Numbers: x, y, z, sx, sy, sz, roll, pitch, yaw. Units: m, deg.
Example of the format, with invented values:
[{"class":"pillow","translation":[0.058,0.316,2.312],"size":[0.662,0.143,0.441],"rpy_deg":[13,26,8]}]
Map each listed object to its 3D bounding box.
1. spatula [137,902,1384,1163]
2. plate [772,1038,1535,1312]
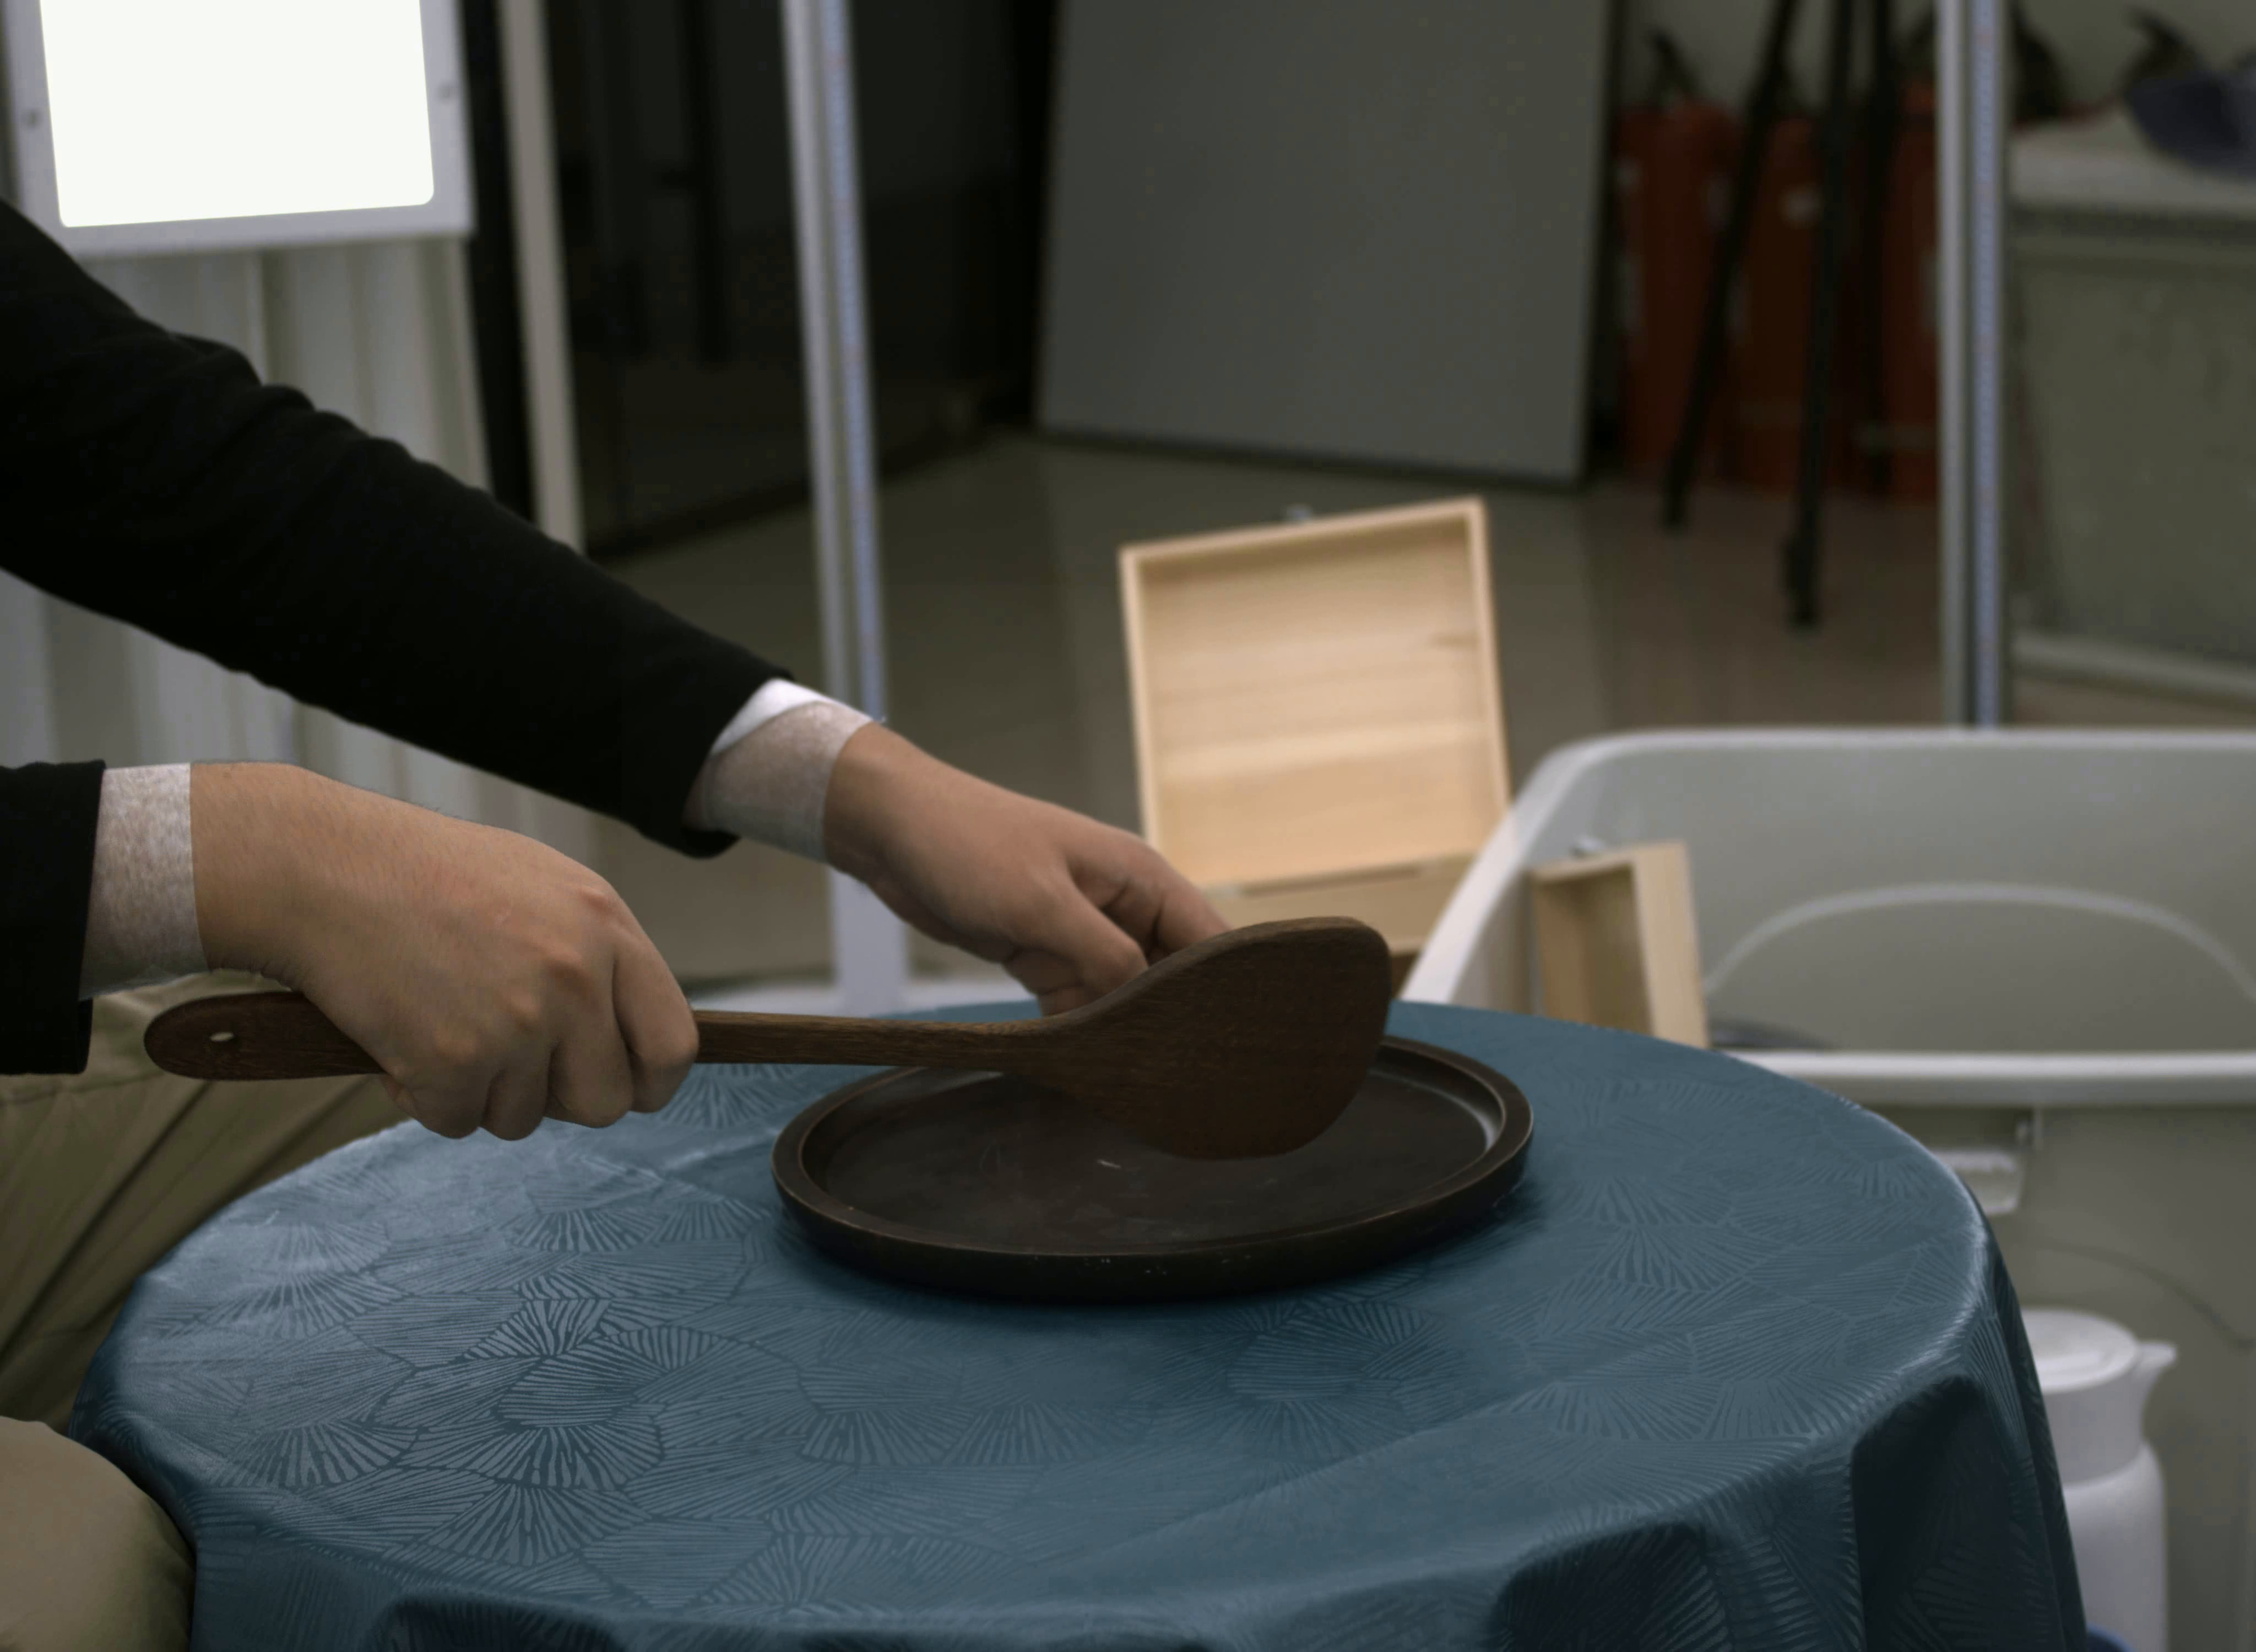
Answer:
[{"class":"spatula","translation":[-0.102,0.060,1.601],"size":[0.378,0.097,0.016],"rpy_deg":[2,34,-18]},{"class":"plate","translation":[0.009,0.109,1.764],"size":[0.251,0.029,0.255],"rpy_deg":[-5,15,0]}]
